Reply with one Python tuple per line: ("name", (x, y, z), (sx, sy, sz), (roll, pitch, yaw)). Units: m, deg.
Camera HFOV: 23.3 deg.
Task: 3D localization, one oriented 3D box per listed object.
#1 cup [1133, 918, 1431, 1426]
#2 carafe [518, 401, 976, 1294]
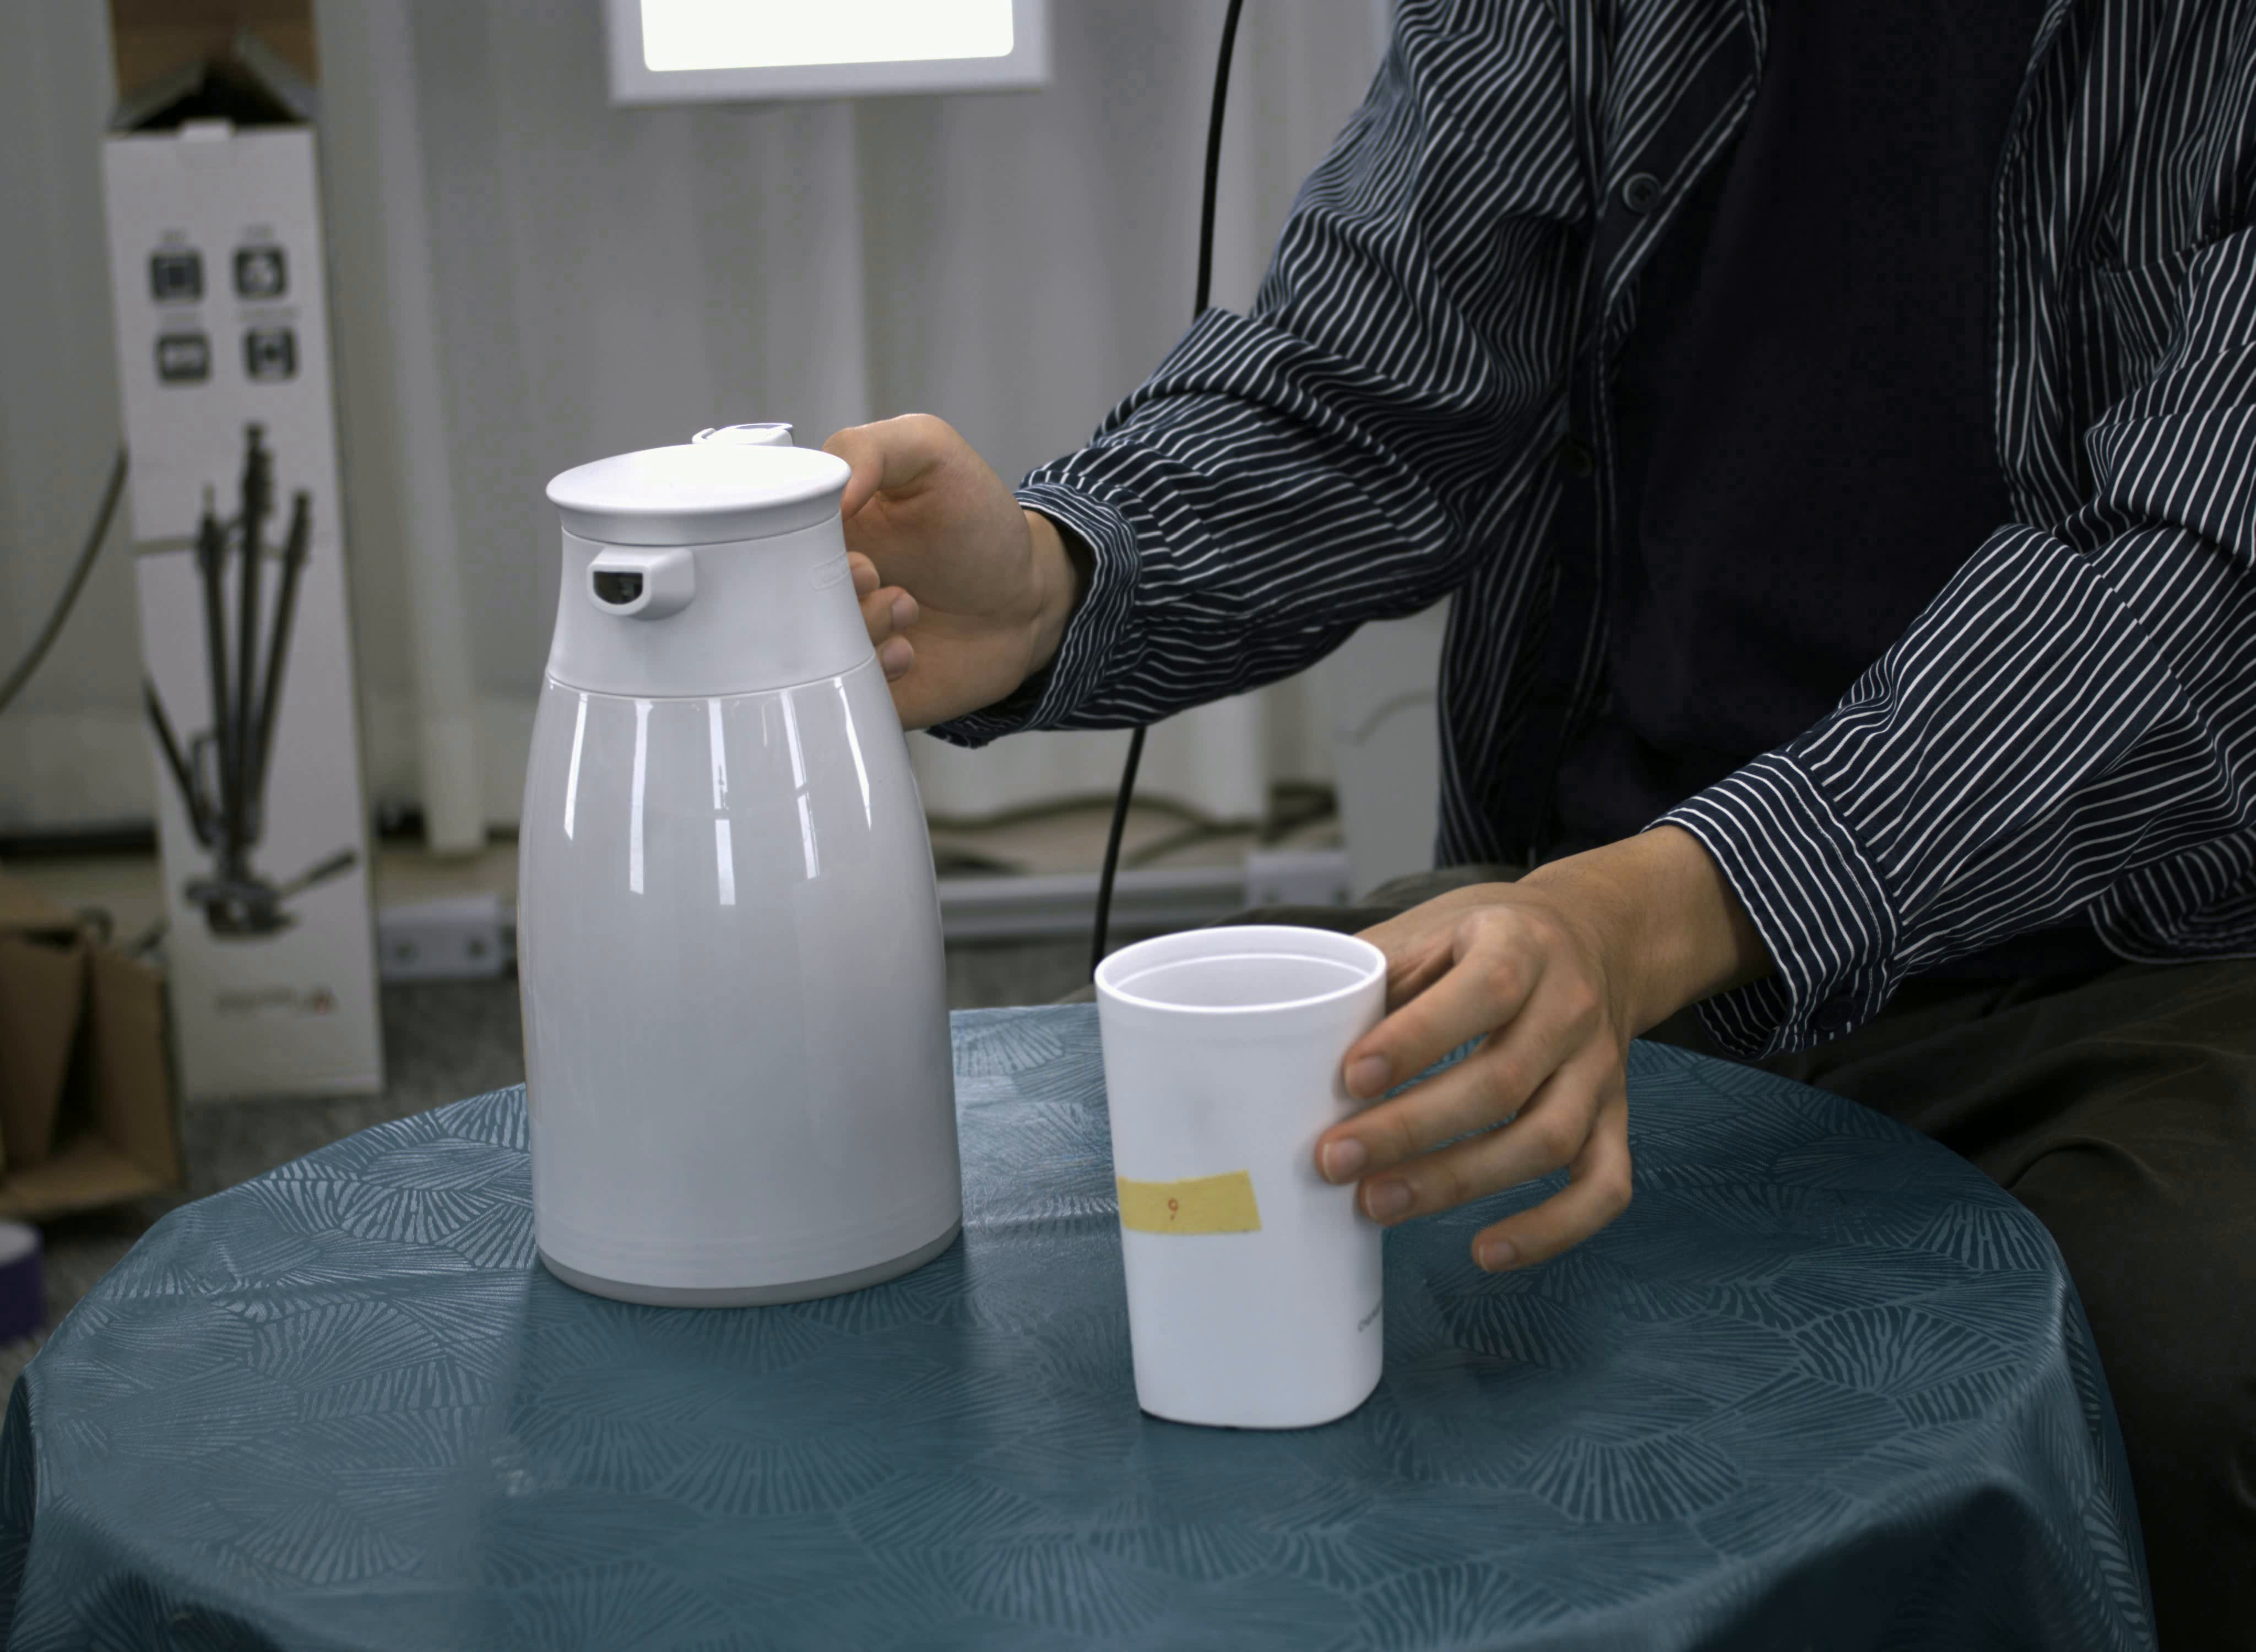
("cup", (0.046, 0.097, 1.519), (0.081, 0.125, 0.082), (-4, 13, 1))
("carafe", (-0.120, -0.002, 1.683), (0.132, 0.247, 0.168), (-2, 16, 13))
